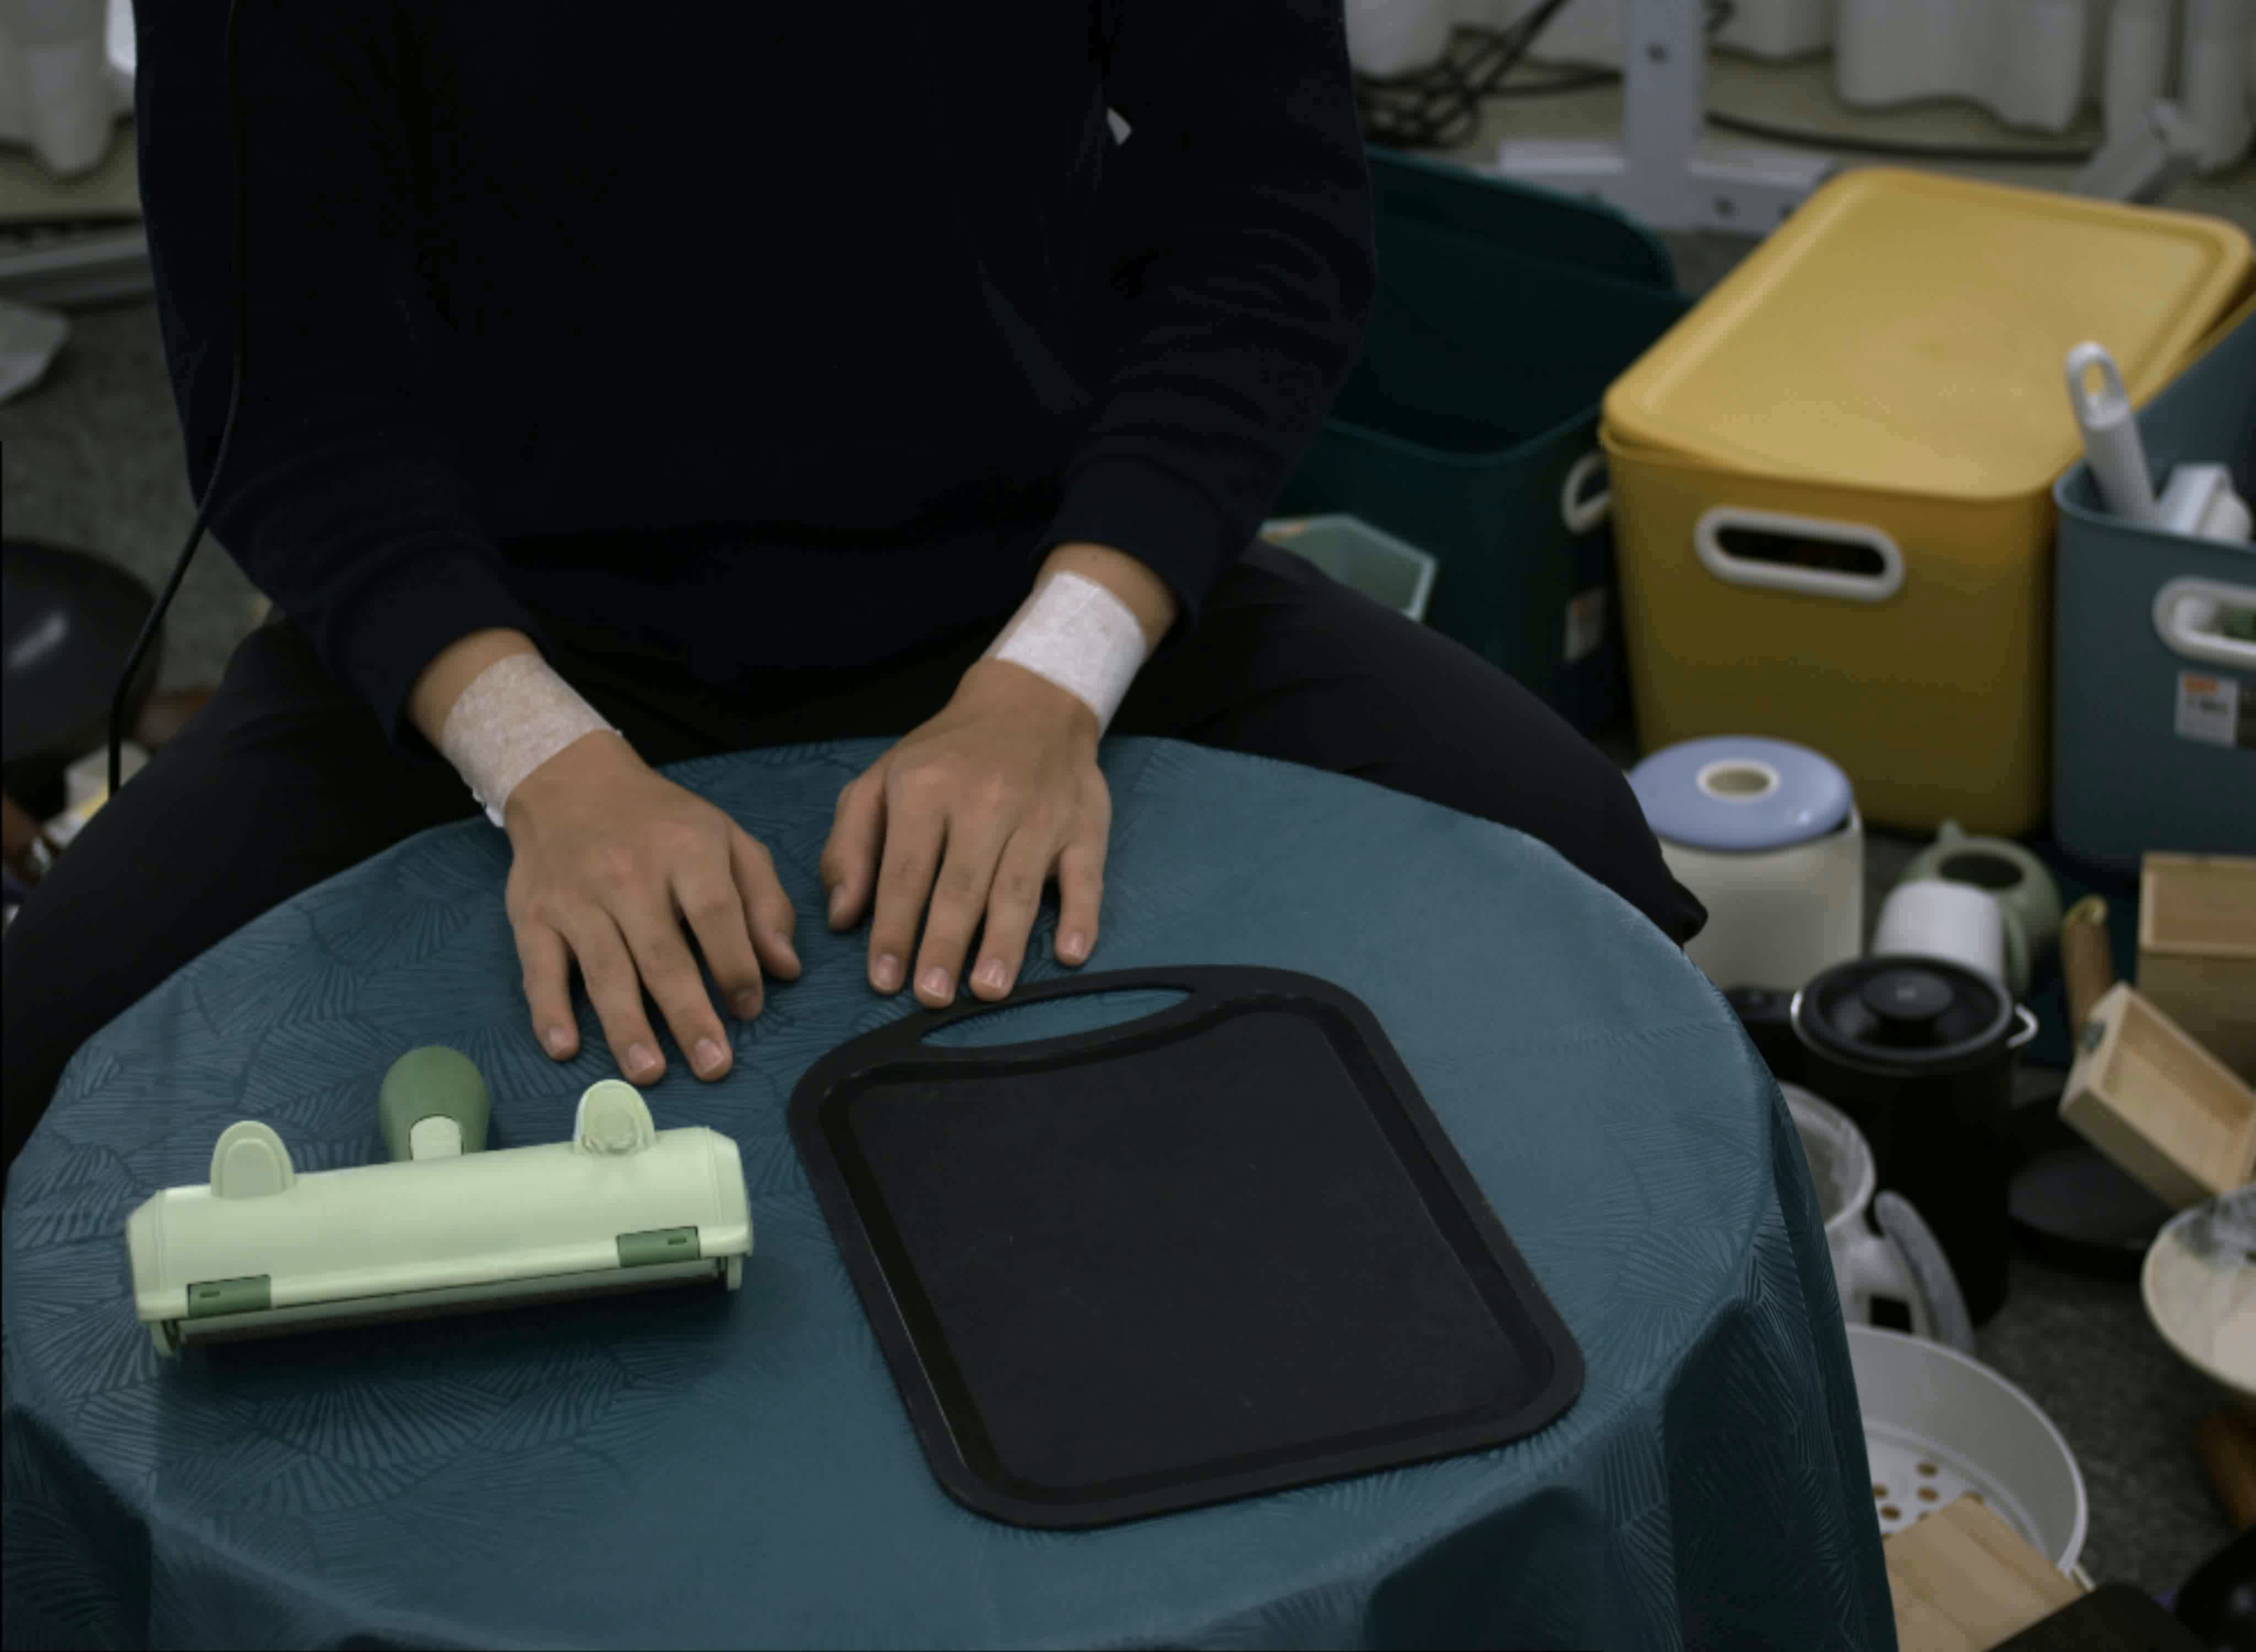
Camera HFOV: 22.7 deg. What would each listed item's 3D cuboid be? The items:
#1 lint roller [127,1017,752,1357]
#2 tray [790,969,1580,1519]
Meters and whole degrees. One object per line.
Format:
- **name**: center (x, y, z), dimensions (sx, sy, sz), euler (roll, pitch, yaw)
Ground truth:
- **lint roller**: center (-0.229, 0.096, 1.842), dimensions (0.198, 0.081, 0.186), euler (-6, 34, -8)
- **tray**: center (0.009, 0.127, 1.844), dimensions (0.211, 0.009, 0.329), euler (-9, 28, -12)
